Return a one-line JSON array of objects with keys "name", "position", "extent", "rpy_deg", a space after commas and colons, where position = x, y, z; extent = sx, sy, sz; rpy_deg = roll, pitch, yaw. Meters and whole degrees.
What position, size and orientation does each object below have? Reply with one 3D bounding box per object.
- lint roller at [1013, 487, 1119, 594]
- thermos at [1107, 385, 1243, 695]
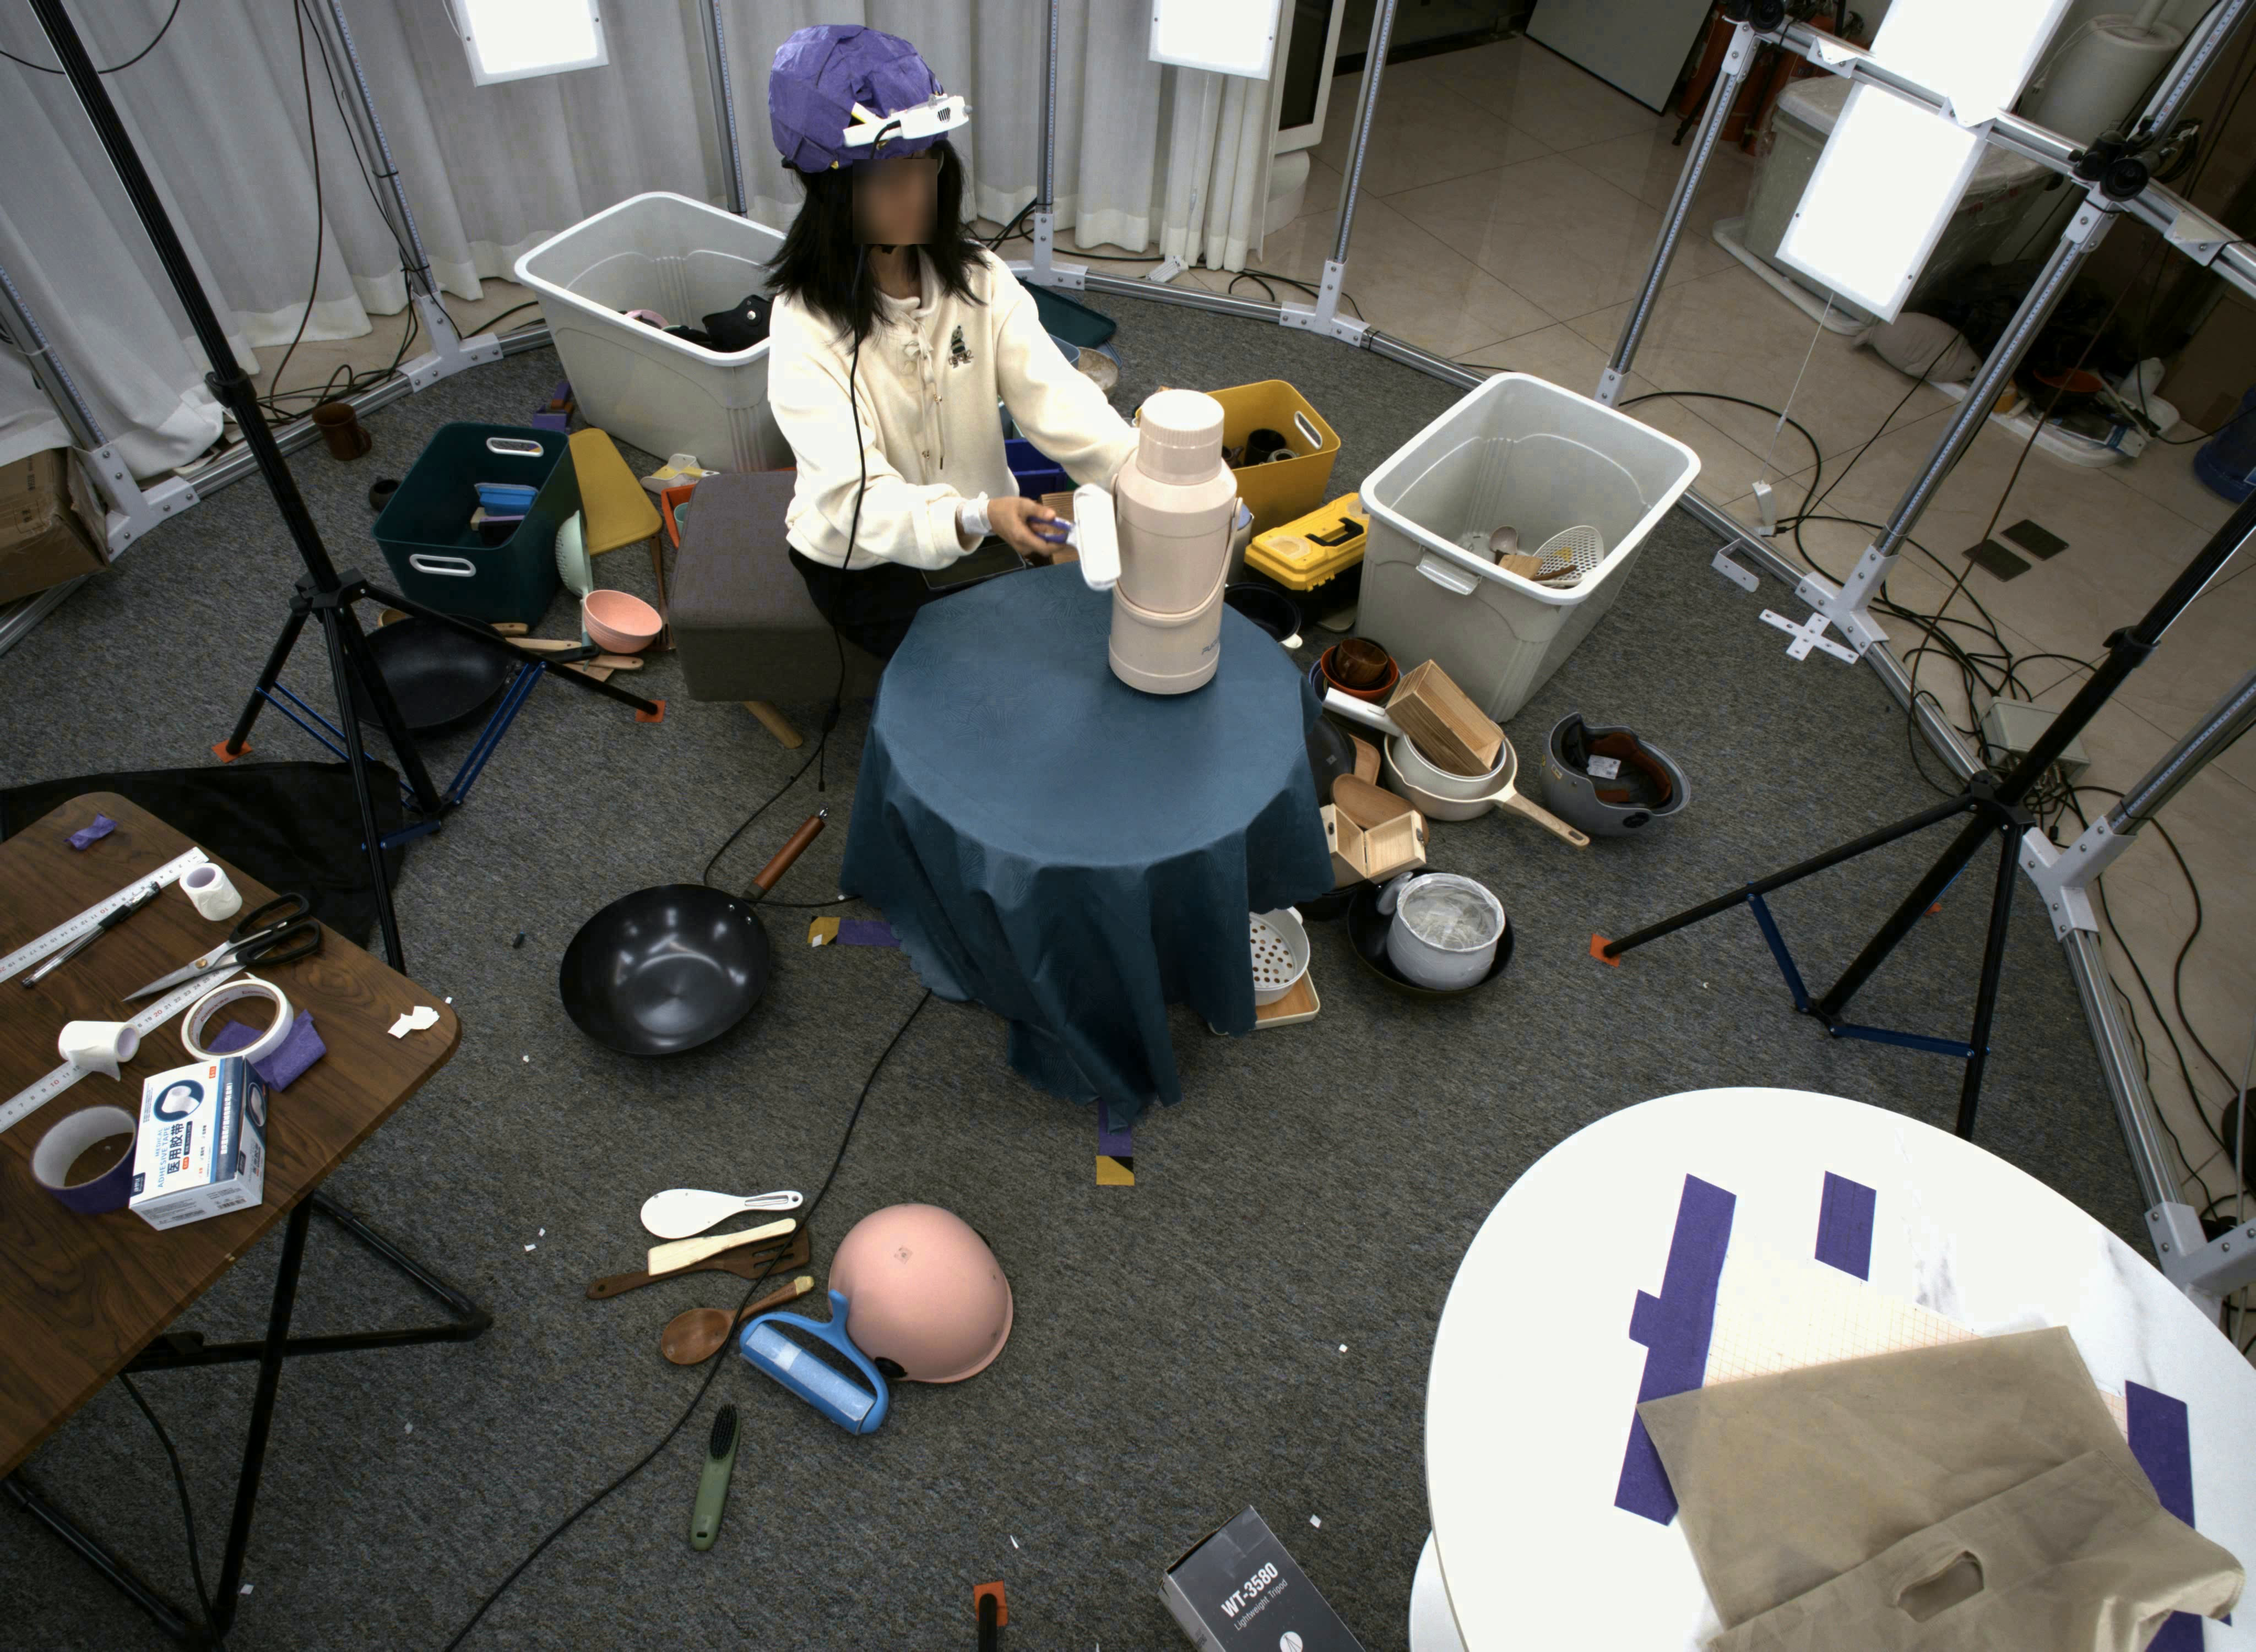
[{"name": "lint roller", "position": [-0.091, -0.374, 1.661], "extent": [0.182, 0.130, 0.050], "rpy_deg": [16, 34, 34]}, {"name": "thermos", "position": [0.064, -0.390, 1.750], "extent": [0.176, 0.396, 0.211], "rpy_deg": [13, 44, 10]}]
